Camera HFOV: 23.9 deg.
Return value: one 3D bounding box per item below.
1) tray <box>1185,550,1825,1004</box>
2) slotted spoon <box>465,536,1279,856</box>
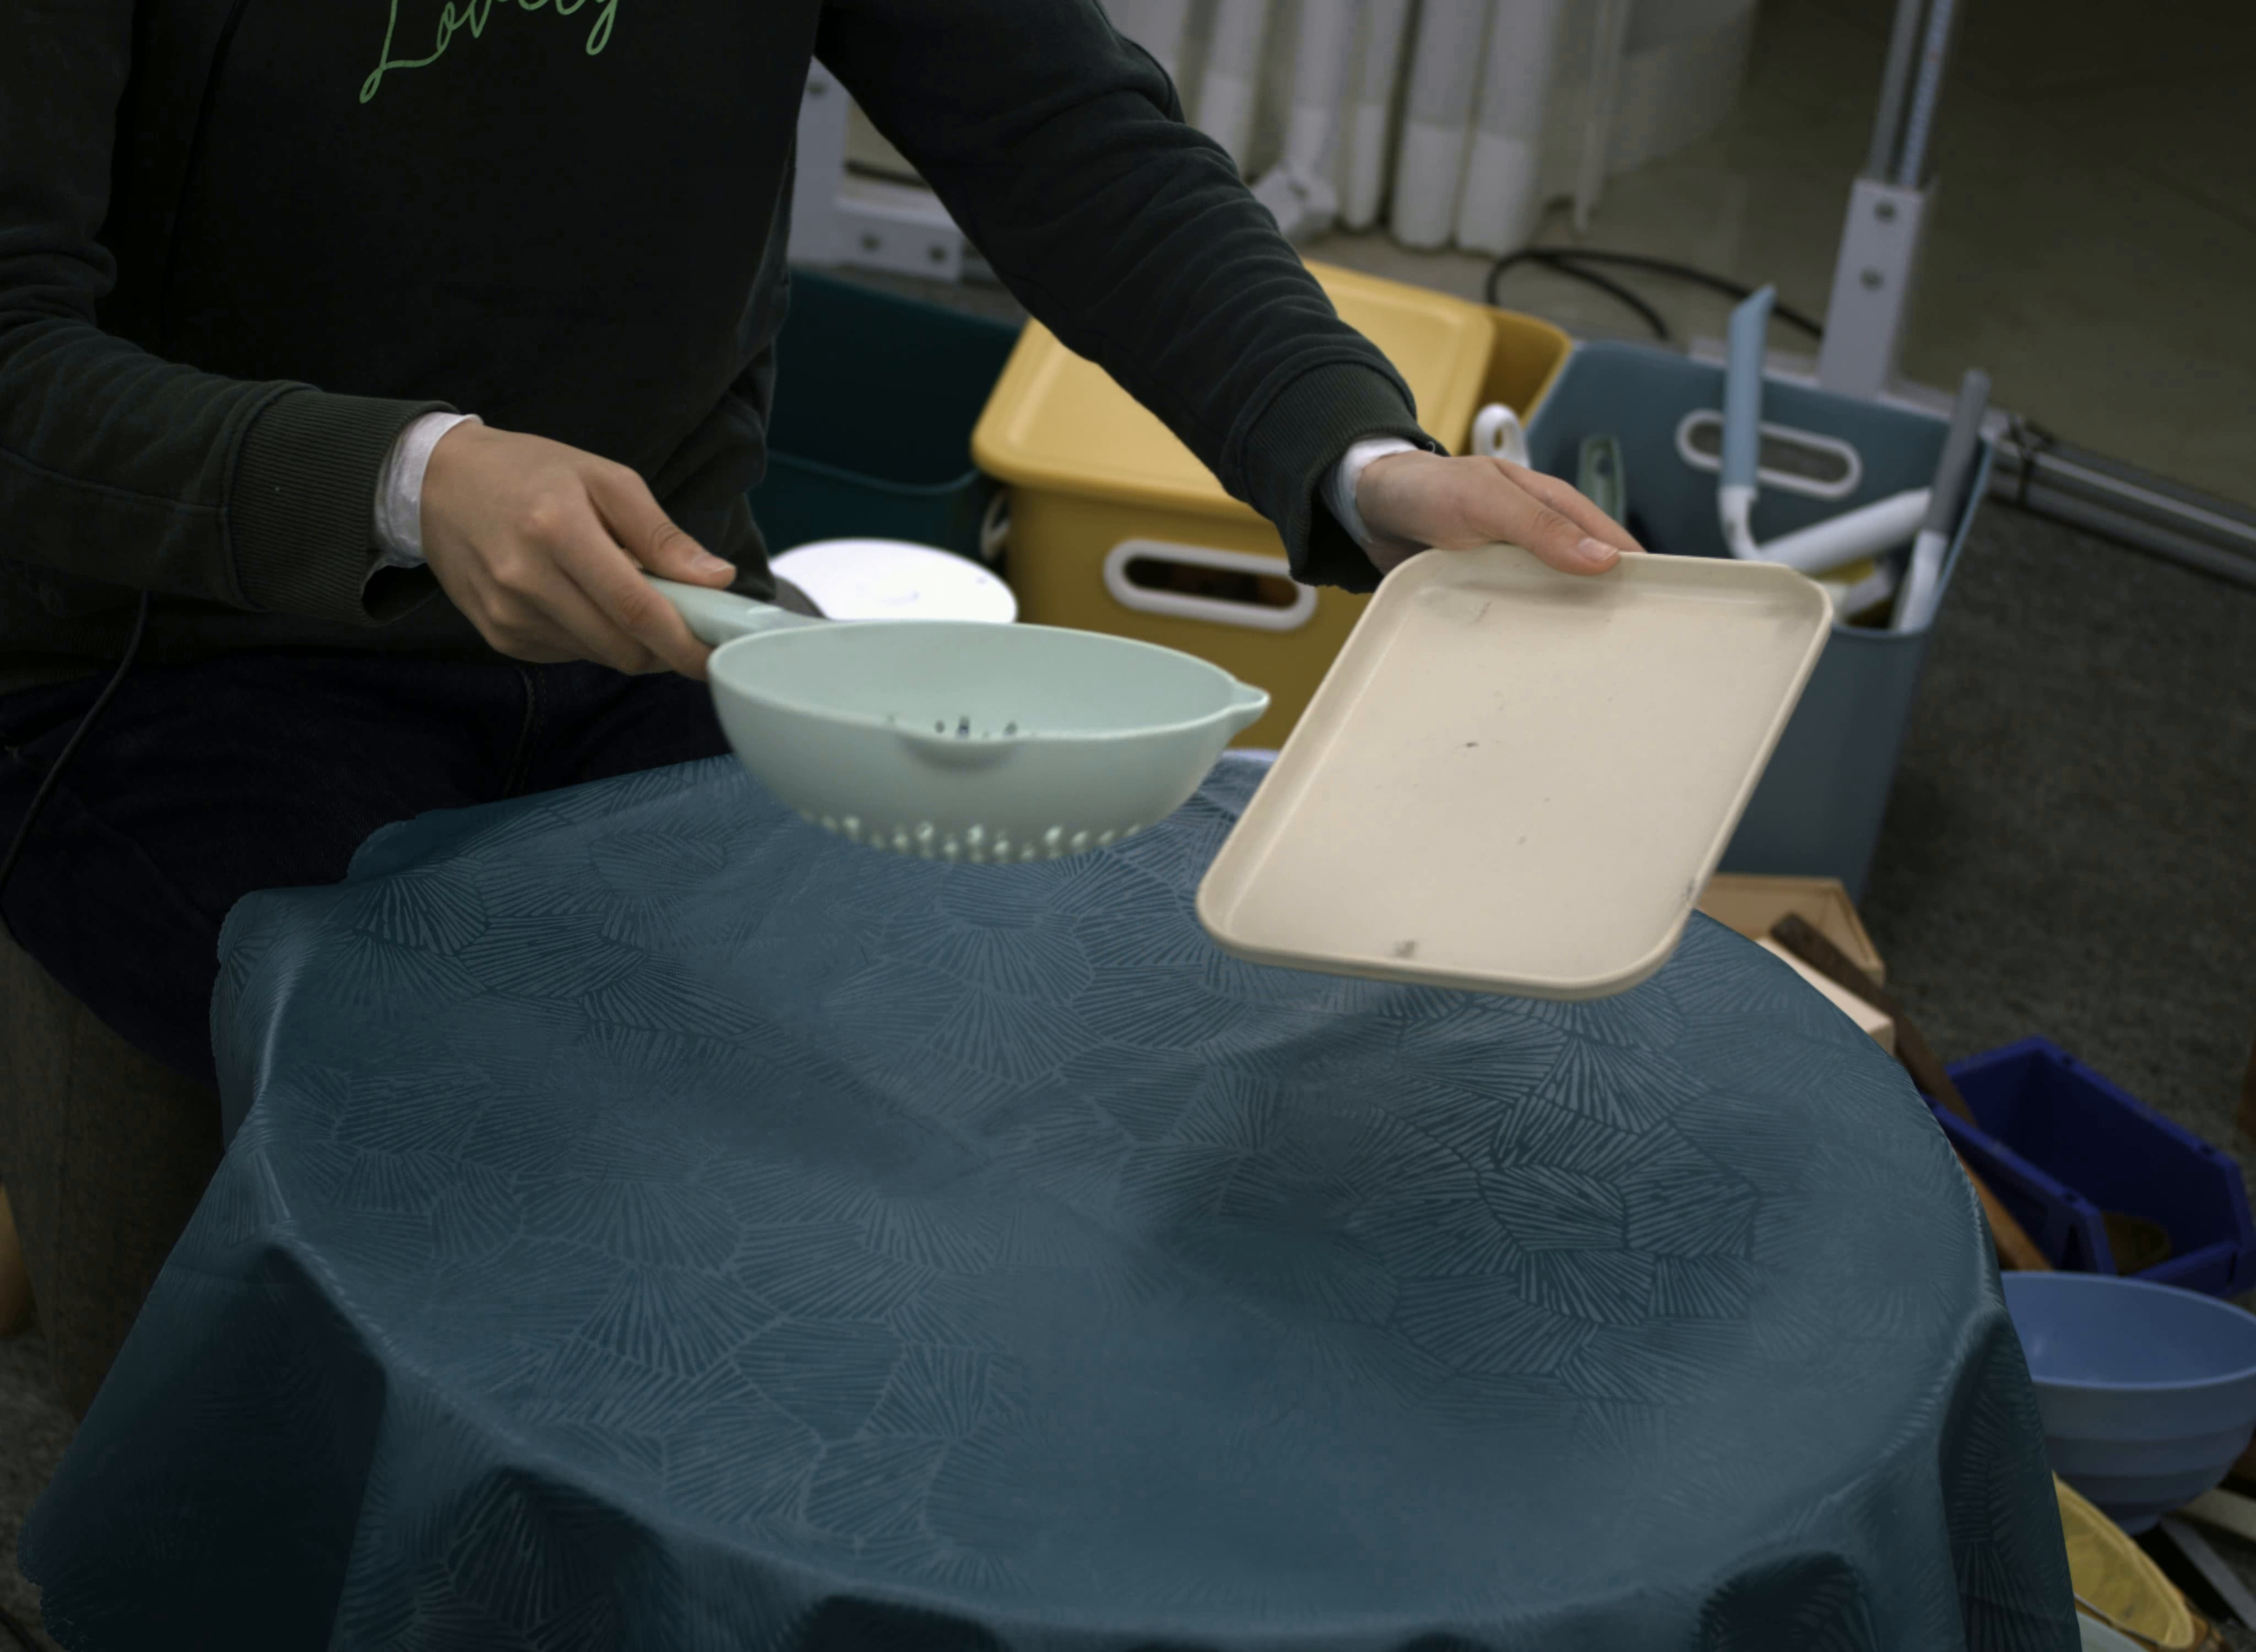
[{"bbox_3d":[0.132,-0.019,1.823,0.172,0.017,0.240,6,39,25],"label":"tray"},{"bbox_3d":[-0.111,-0.058,1.749,0.168,0.075,0.362,-5,23,-41],"label":"slotted spoon"}]
